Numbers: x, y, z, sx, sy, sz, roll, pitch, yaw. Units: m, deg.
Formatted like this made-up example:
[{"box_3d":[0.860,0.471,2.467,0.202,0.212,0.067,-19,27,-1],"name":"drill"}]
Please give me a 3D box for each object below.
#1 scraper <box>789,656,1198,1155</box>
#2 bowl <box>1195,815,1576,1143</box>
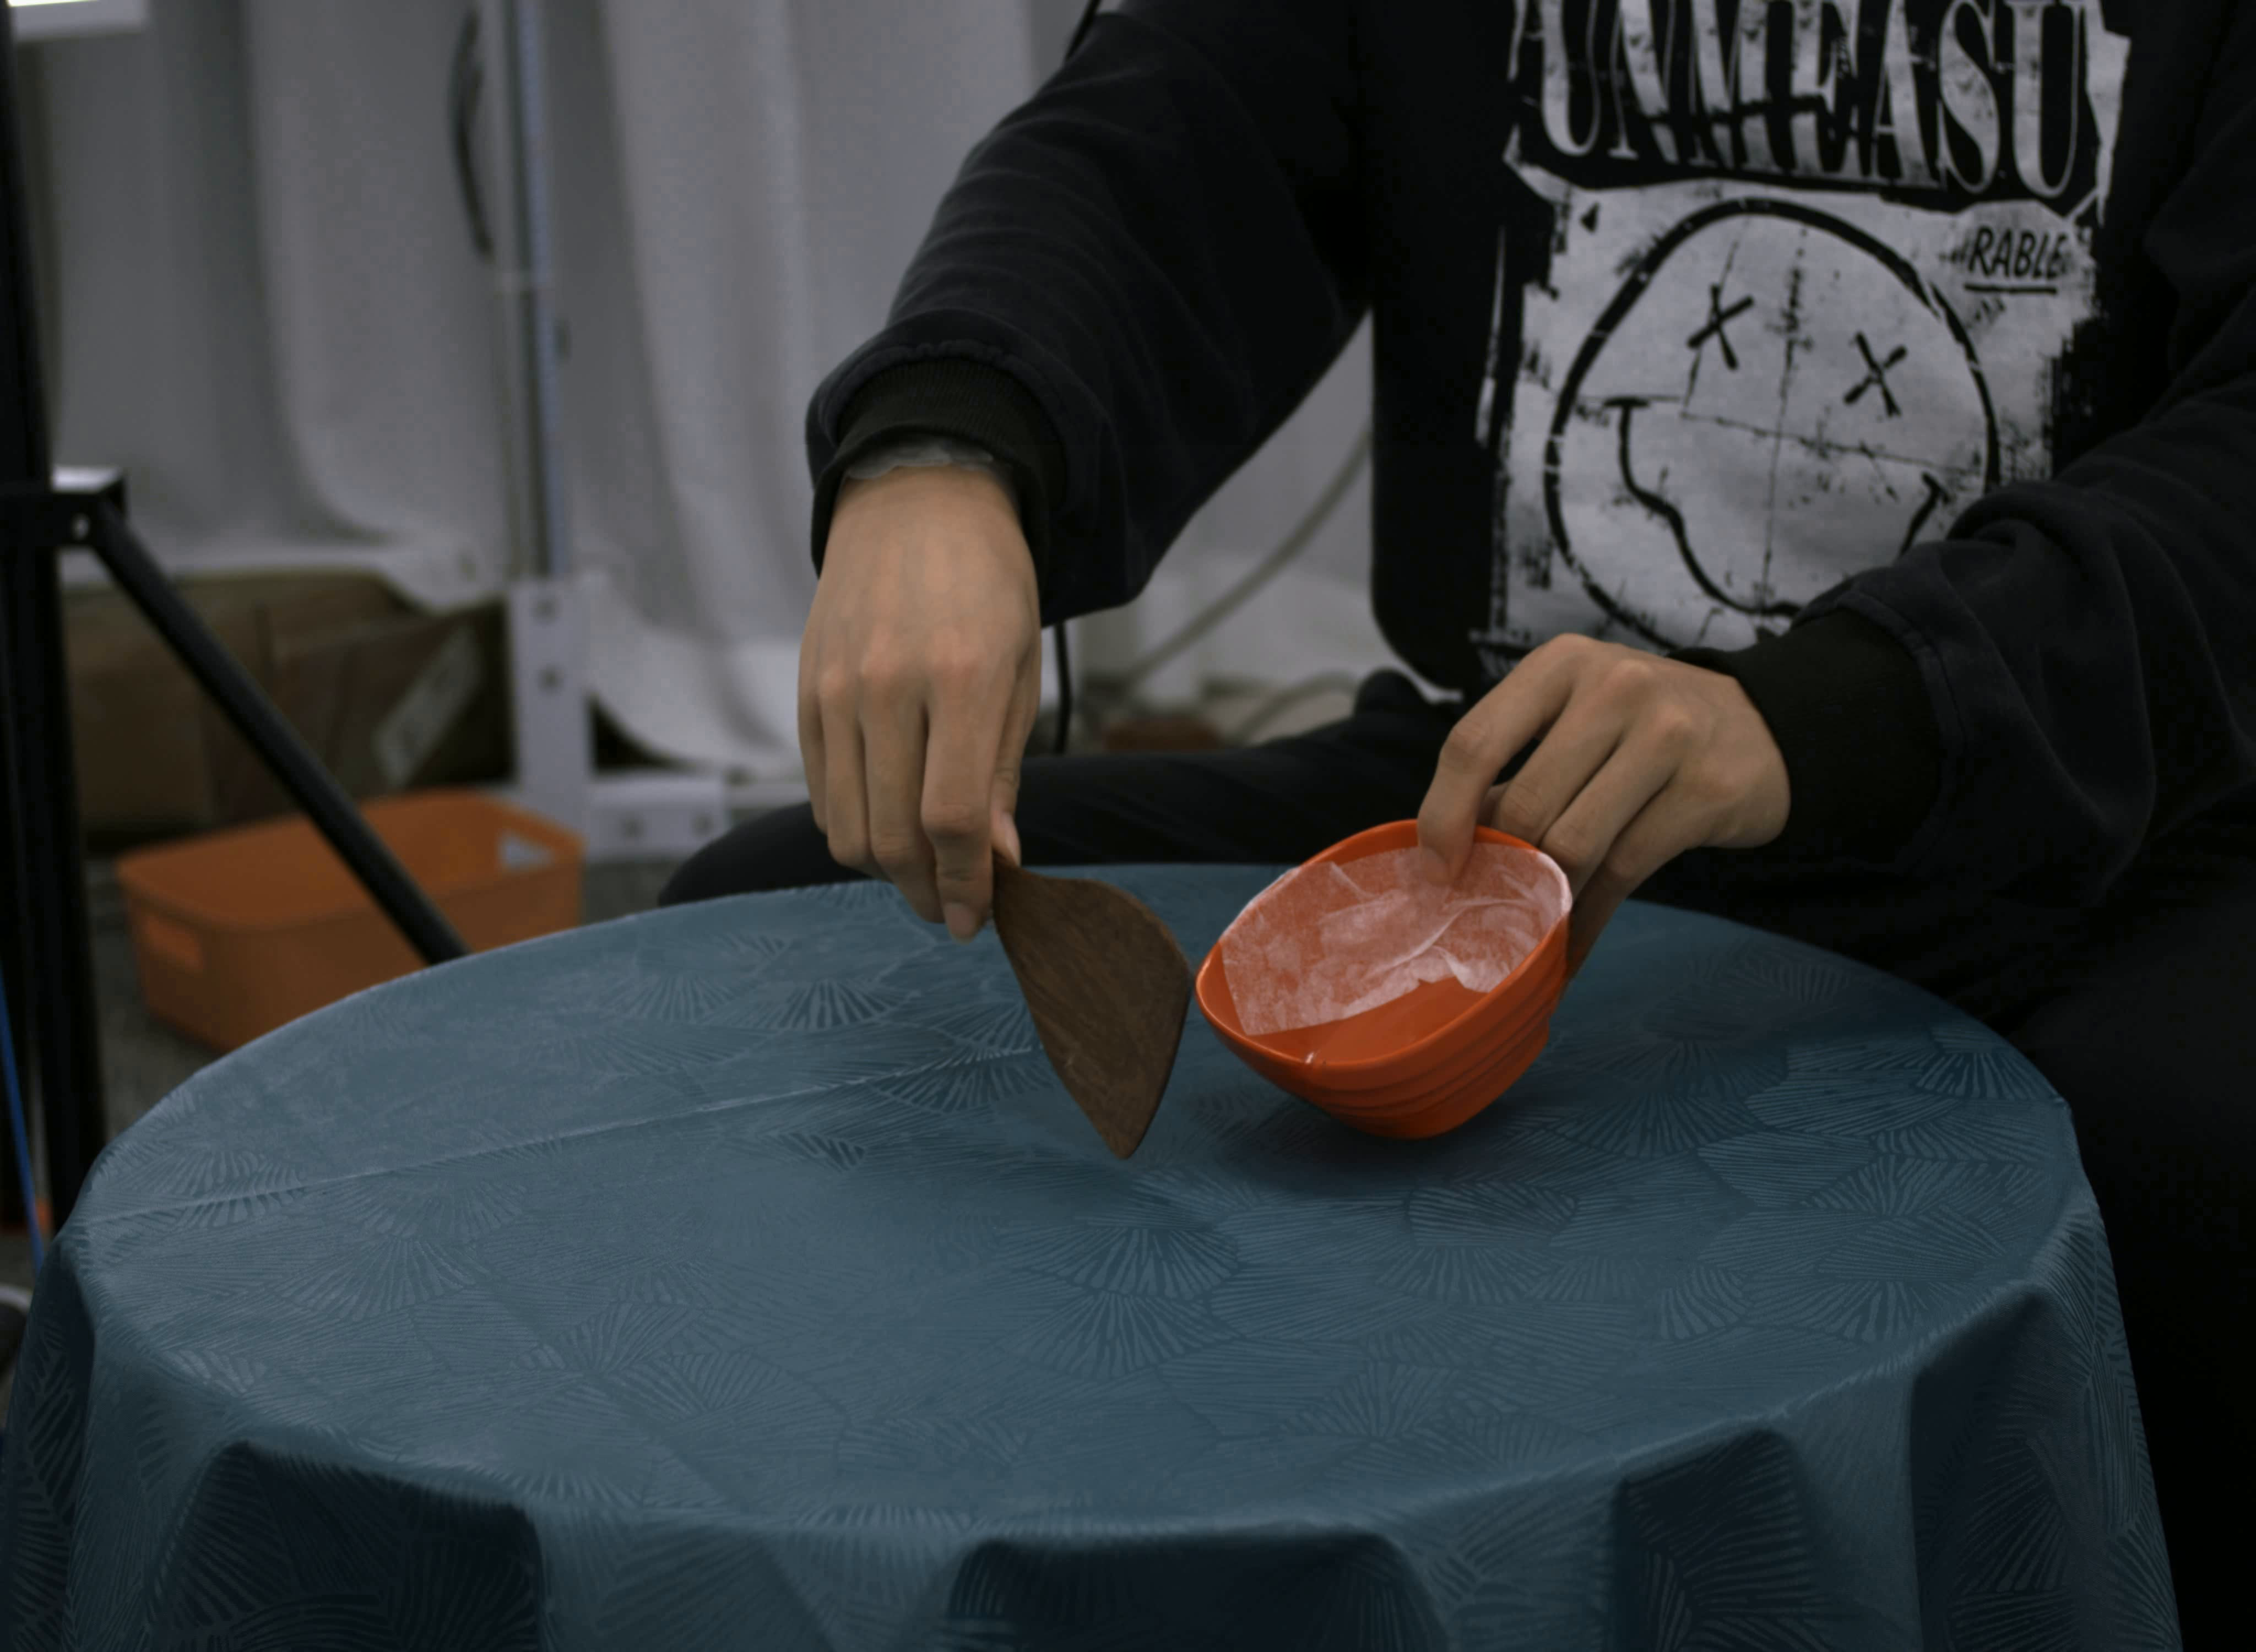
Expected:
[{"box_3d":[-0.044,0.013,1.620,0.010,0.076,0.216,-6,37,-38],"name":"scraper"},{"box_3d":[0.084,0.052,1.603,0.119,0.050,0.120,-18,34,11],"name":"bowl"}]
